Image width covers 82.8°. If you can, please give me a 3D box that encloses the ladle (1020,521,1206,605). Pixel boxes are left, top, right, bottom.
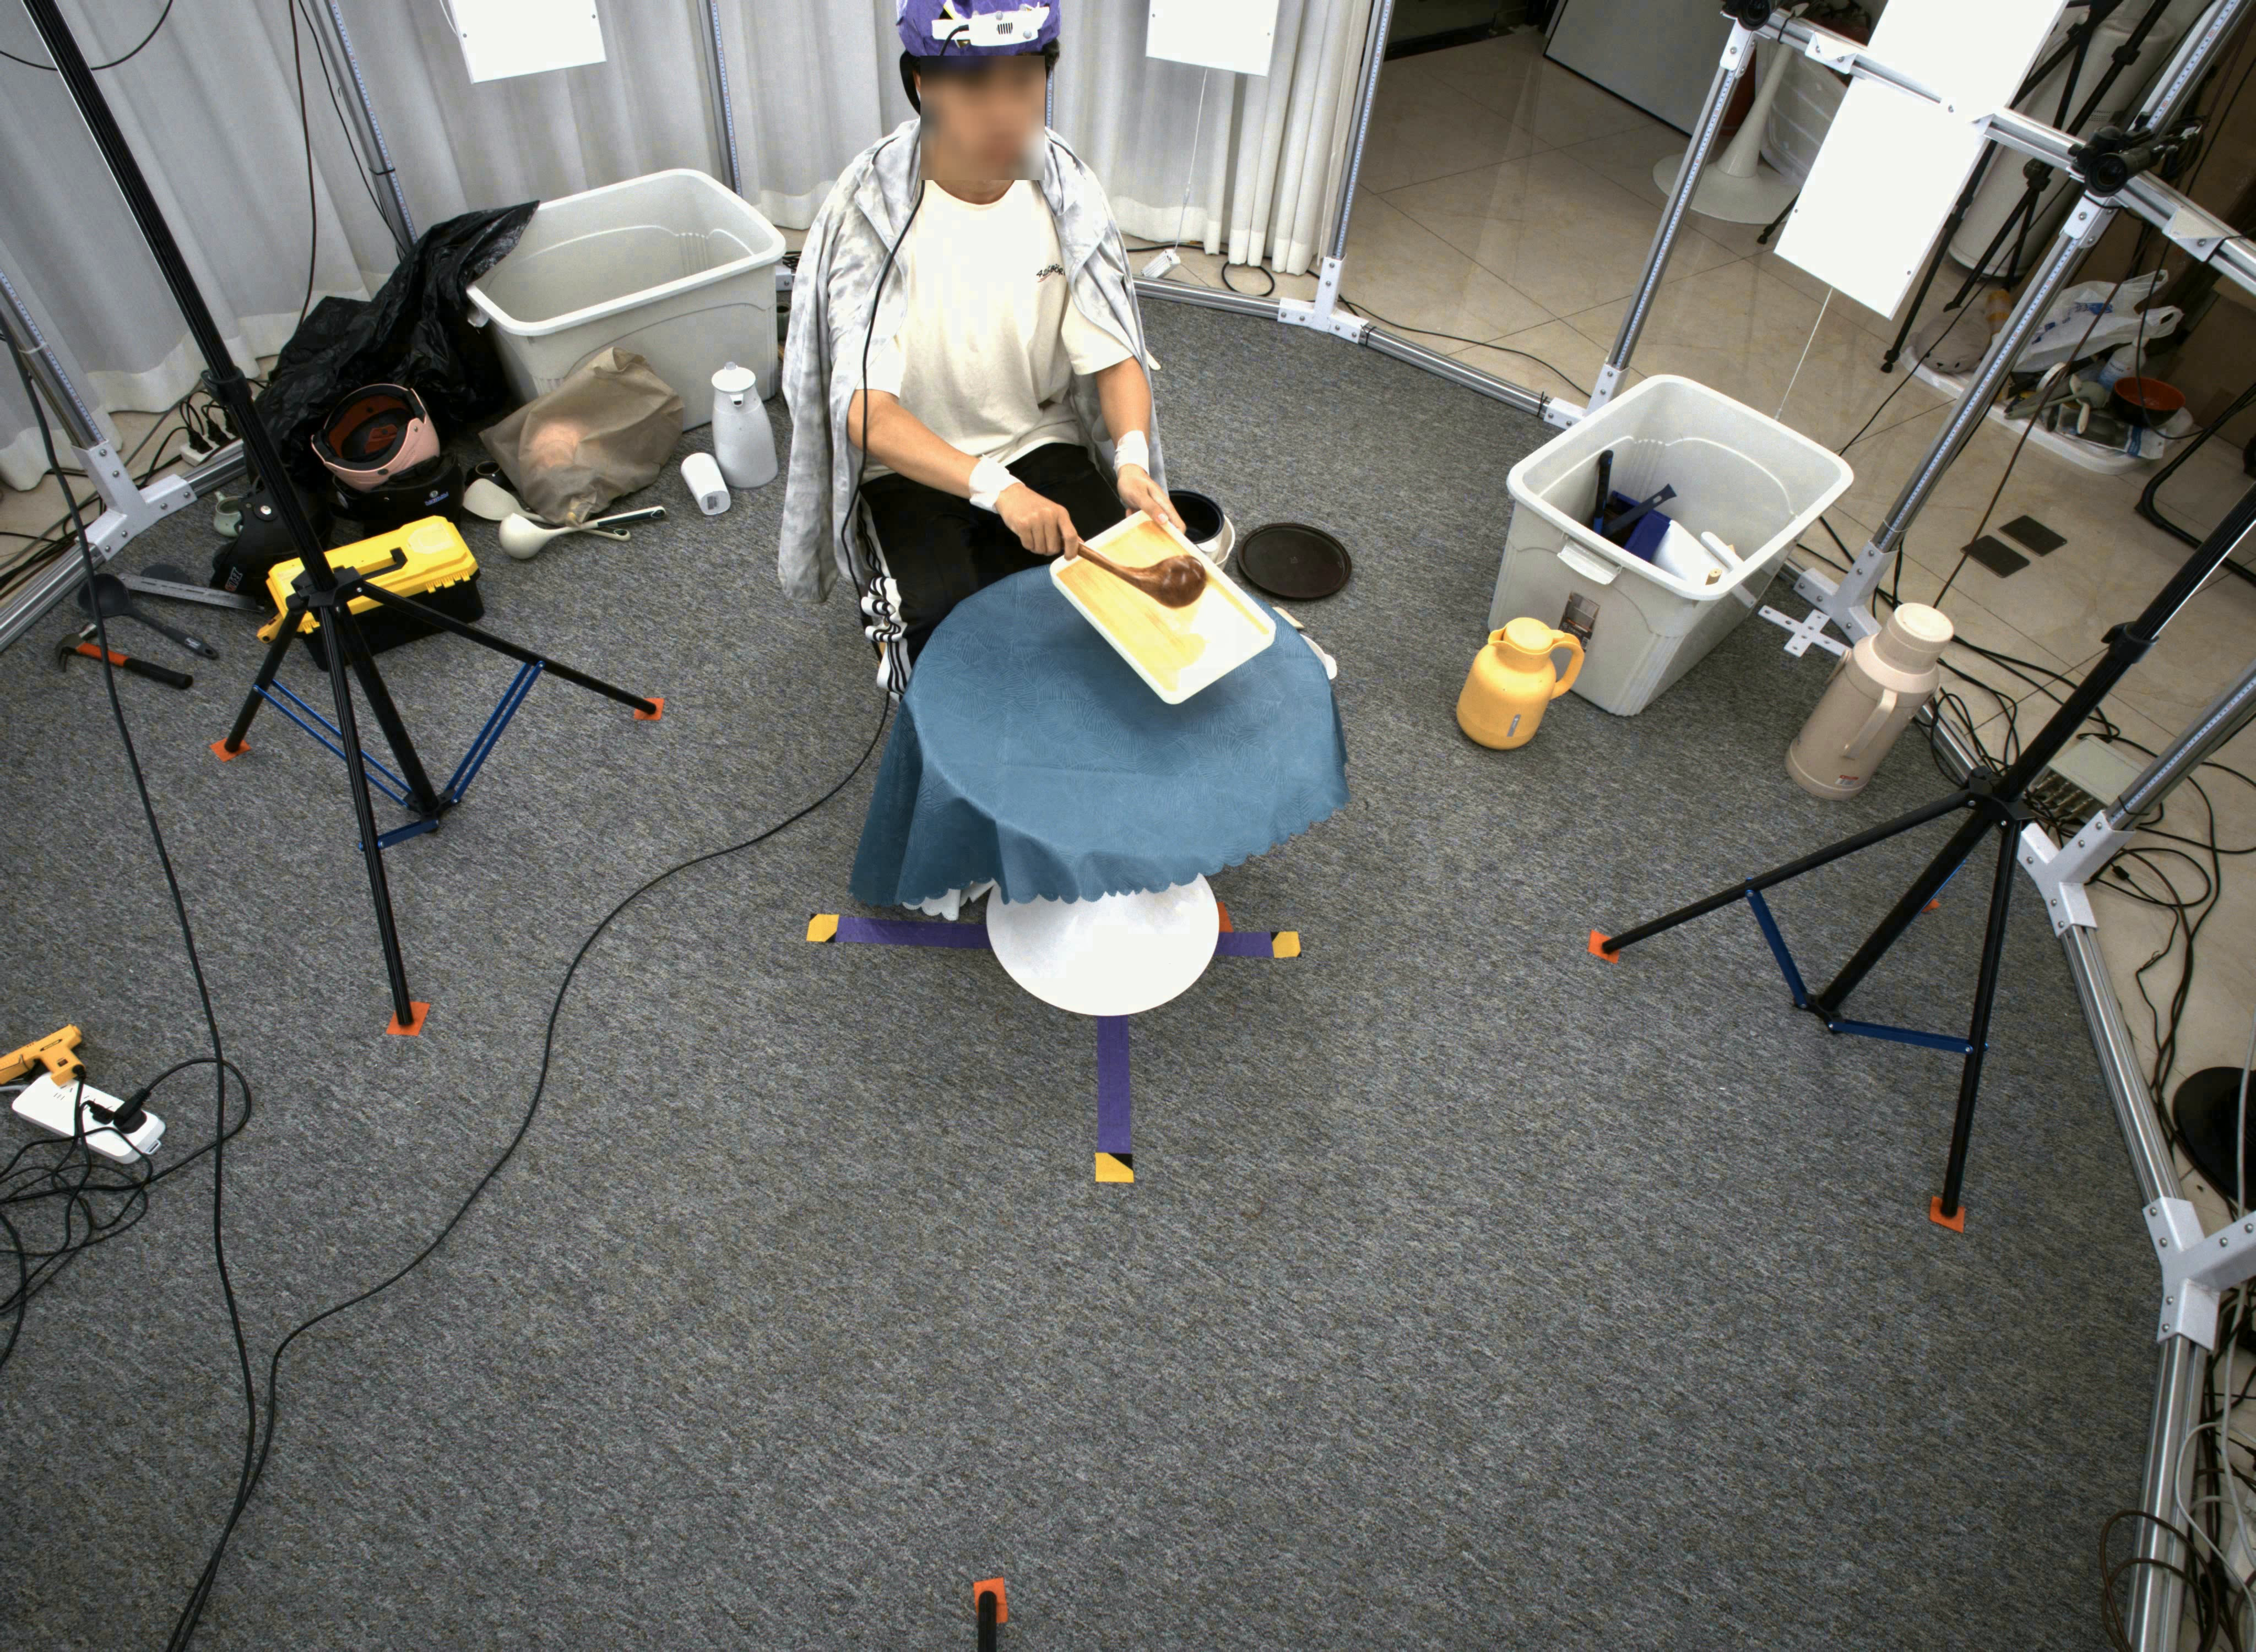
[{"bbox_3d":[-0.020,-0.379,1.773,0.277,0.080,0.077,28,40,25],"label":"ladle"}]

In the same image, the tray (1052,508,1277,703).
[{"bbox_3d":[0.048,-0.315,1.805,0.192,0.027,0.306,-33,61,-15],"label":"tray"}]
